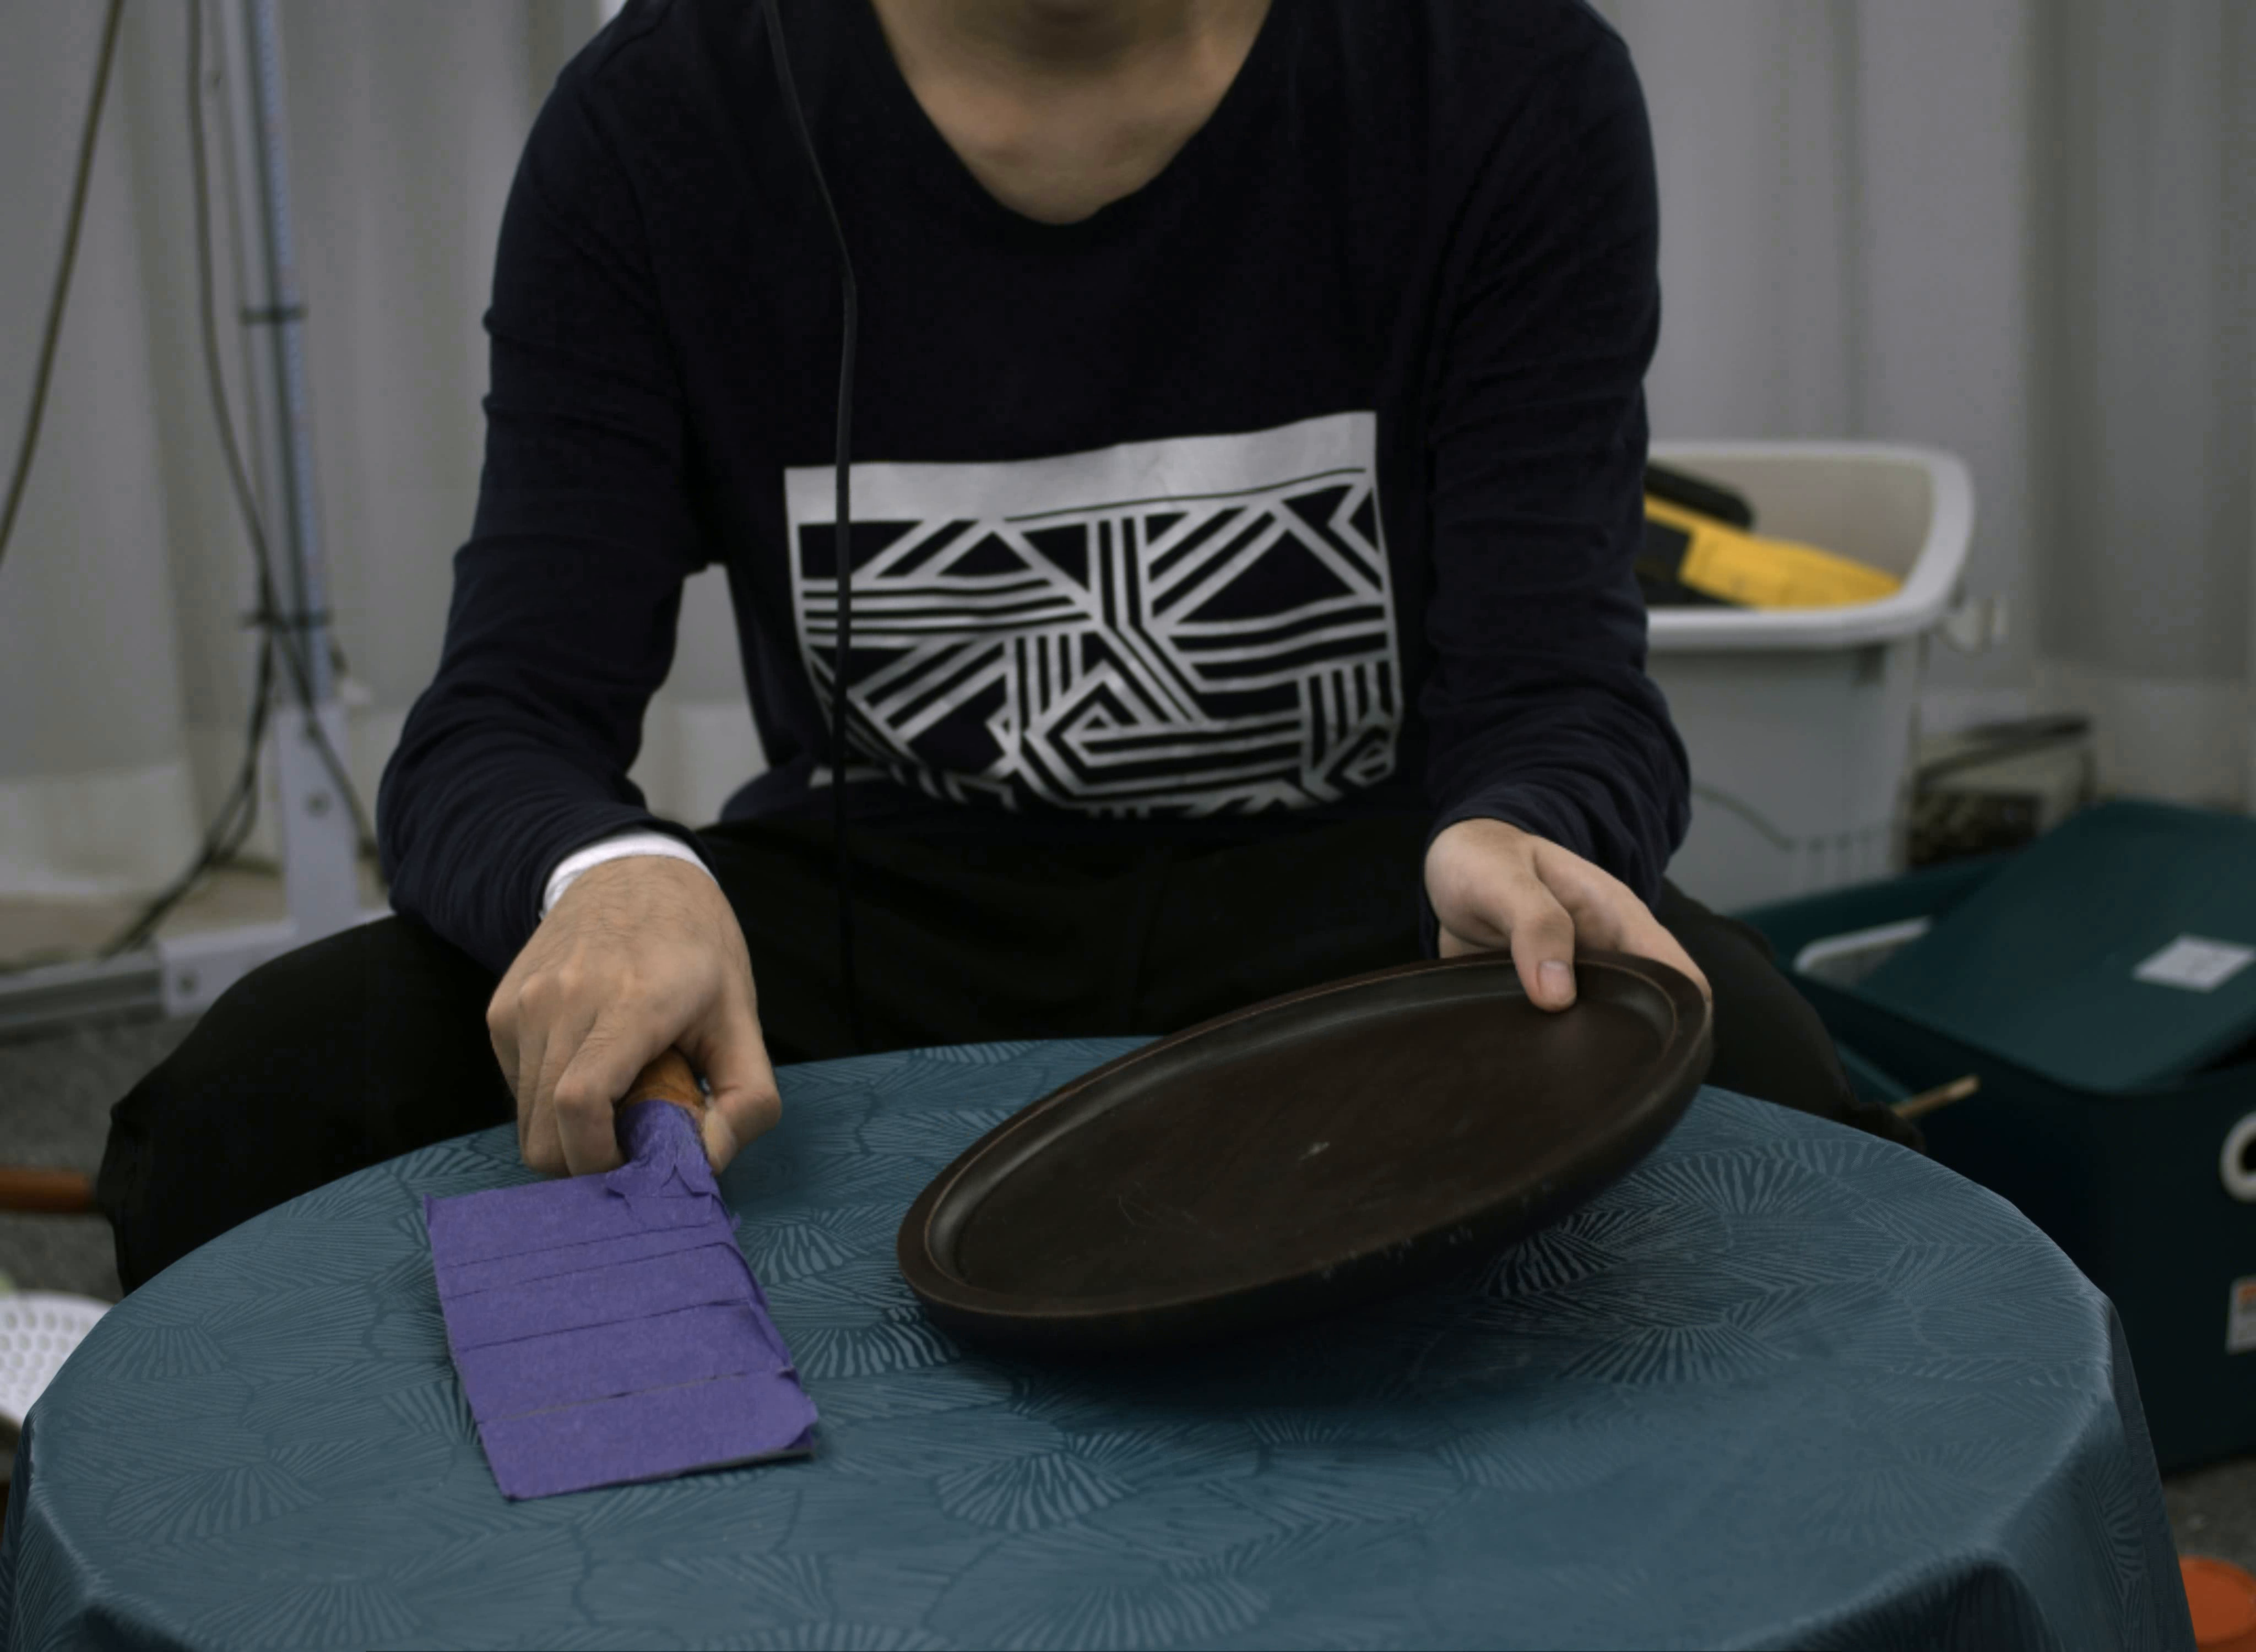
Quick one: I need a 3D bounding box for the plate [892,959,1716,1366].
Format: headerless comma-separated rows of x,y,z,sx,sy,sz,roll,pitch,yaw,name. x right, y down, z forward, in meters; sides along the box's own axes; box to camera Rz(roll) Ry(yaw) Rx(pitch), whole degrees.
0.053,0.098,1.622,0.254,0.029,0.257,-16,17,5,plate

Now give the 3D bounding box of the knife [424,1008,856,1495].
-0.161,0.122,1.635,0.103,0.032,0.318,-7,18,-12,knife
